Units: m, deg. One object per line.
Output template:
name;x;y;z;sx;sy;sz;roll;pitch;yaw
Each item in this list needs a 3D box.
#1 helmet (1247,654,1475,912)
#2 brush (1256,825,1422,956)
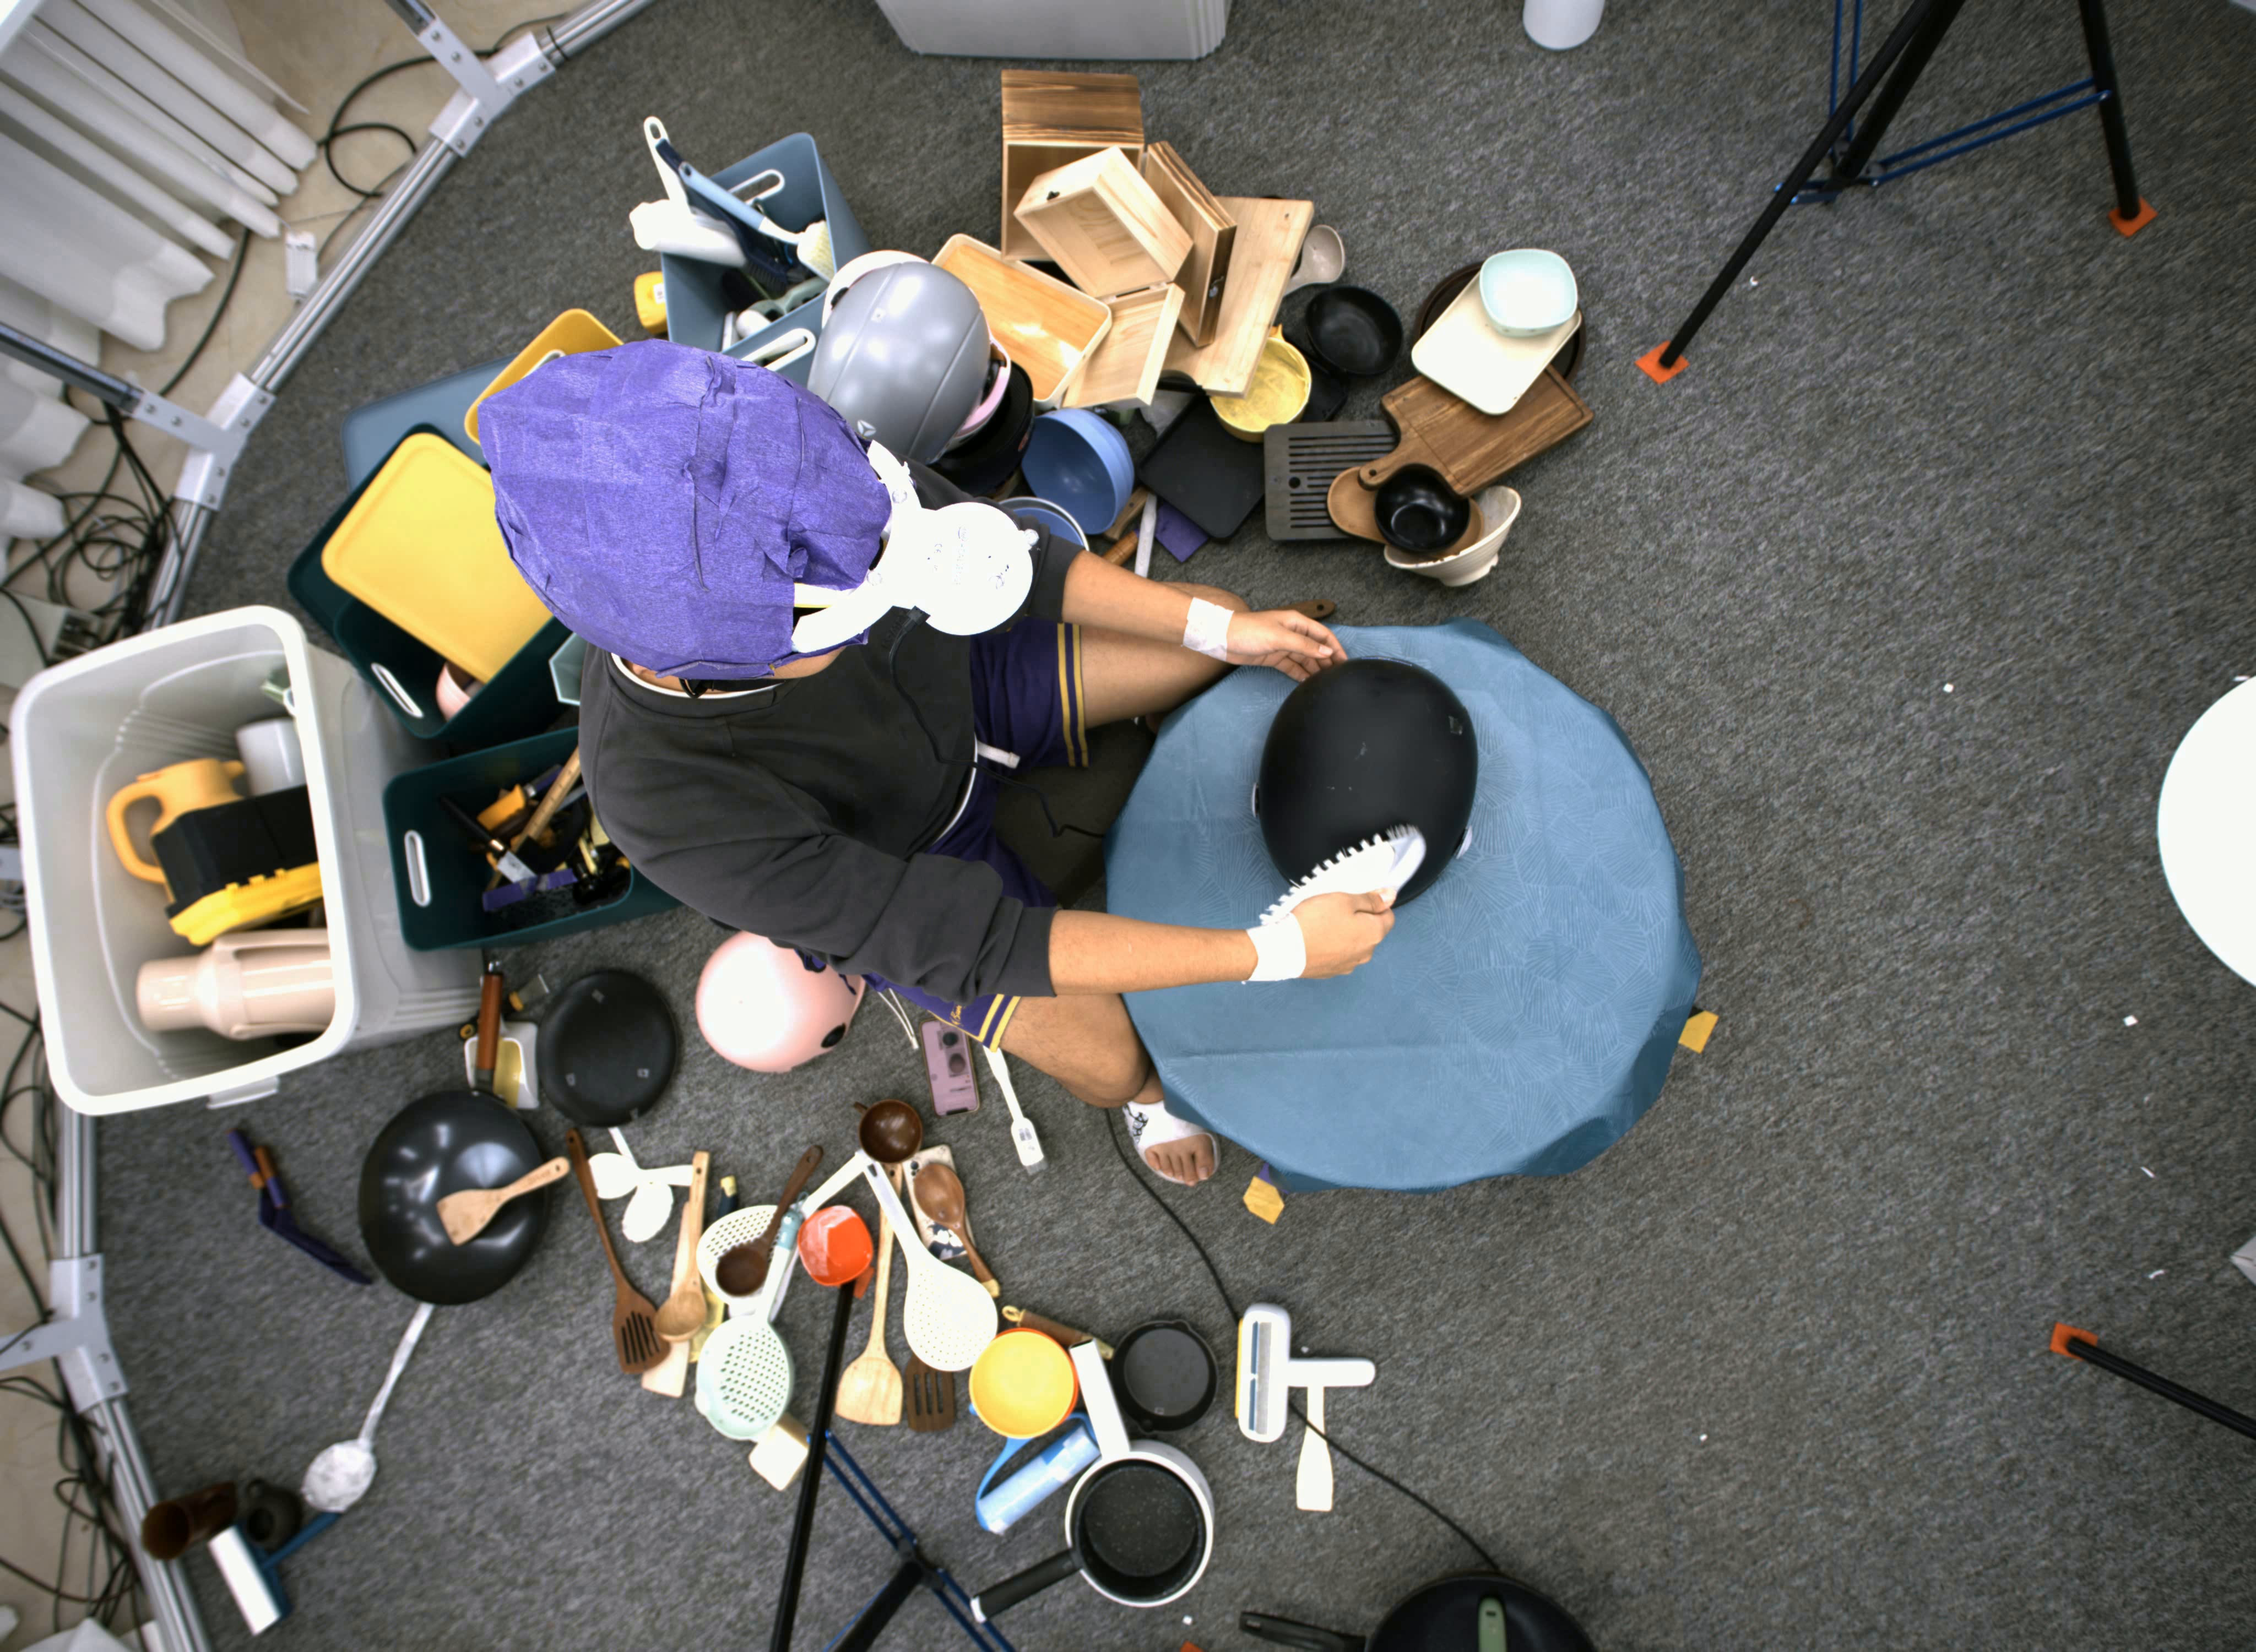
helmet;0.237;-0.049;1.391;0.230;0.166;0.273;14;91;11
brush;0.209;0.056;1.276;0.174;0.094;0.062;-36;106;-8
